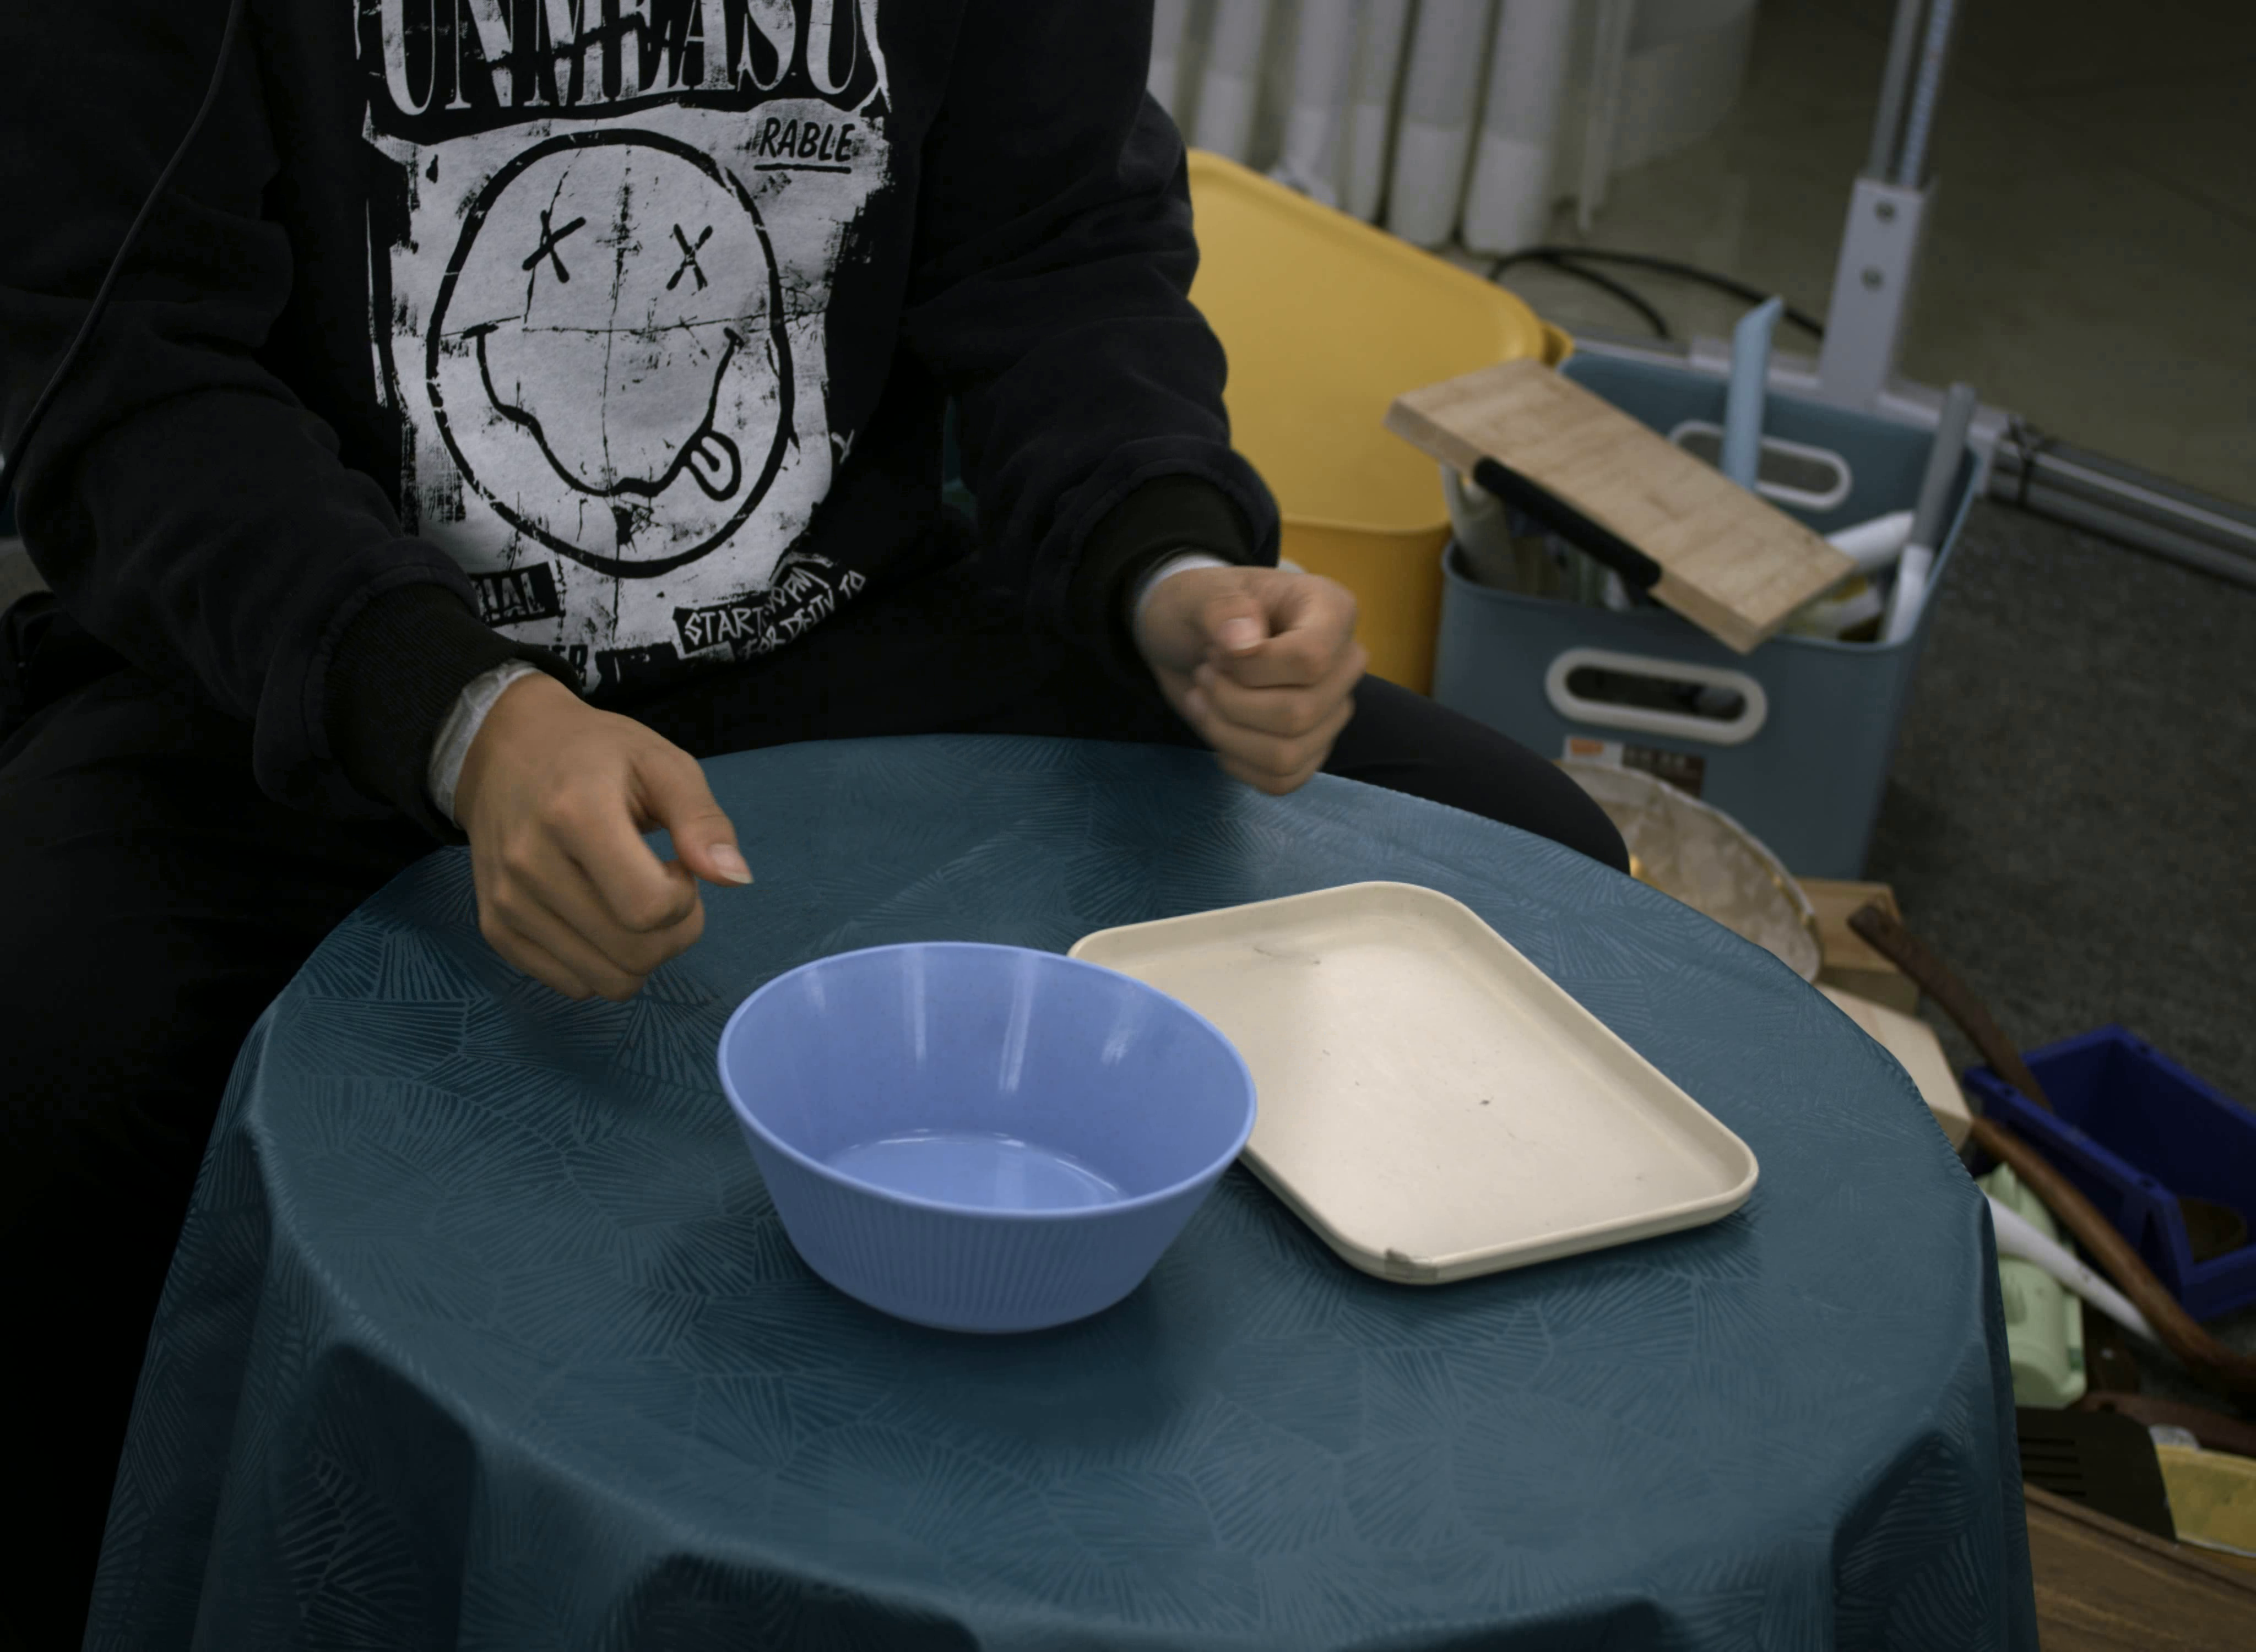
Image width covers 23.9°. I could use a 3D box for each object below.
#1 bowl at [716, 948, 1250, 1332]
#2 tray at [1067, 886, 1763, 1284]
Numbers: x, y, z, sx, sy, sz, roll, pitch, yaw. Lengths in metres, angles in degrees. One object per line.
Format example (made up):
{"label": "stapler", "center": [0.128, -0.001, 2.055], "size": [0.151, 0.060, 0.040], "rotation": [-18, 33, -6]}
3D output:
{"label": "bowl", "center": [-0.050, 0.108, 1.741], "size": [0.175, 0.070, 0.177], "rotation": [6, 26, -3]}
{"label": "tray", "center": [0.097, 0.089, 1.871], "size": [0.170, 0.017, 0.242], "rotation": [-9, 30, -29]}
